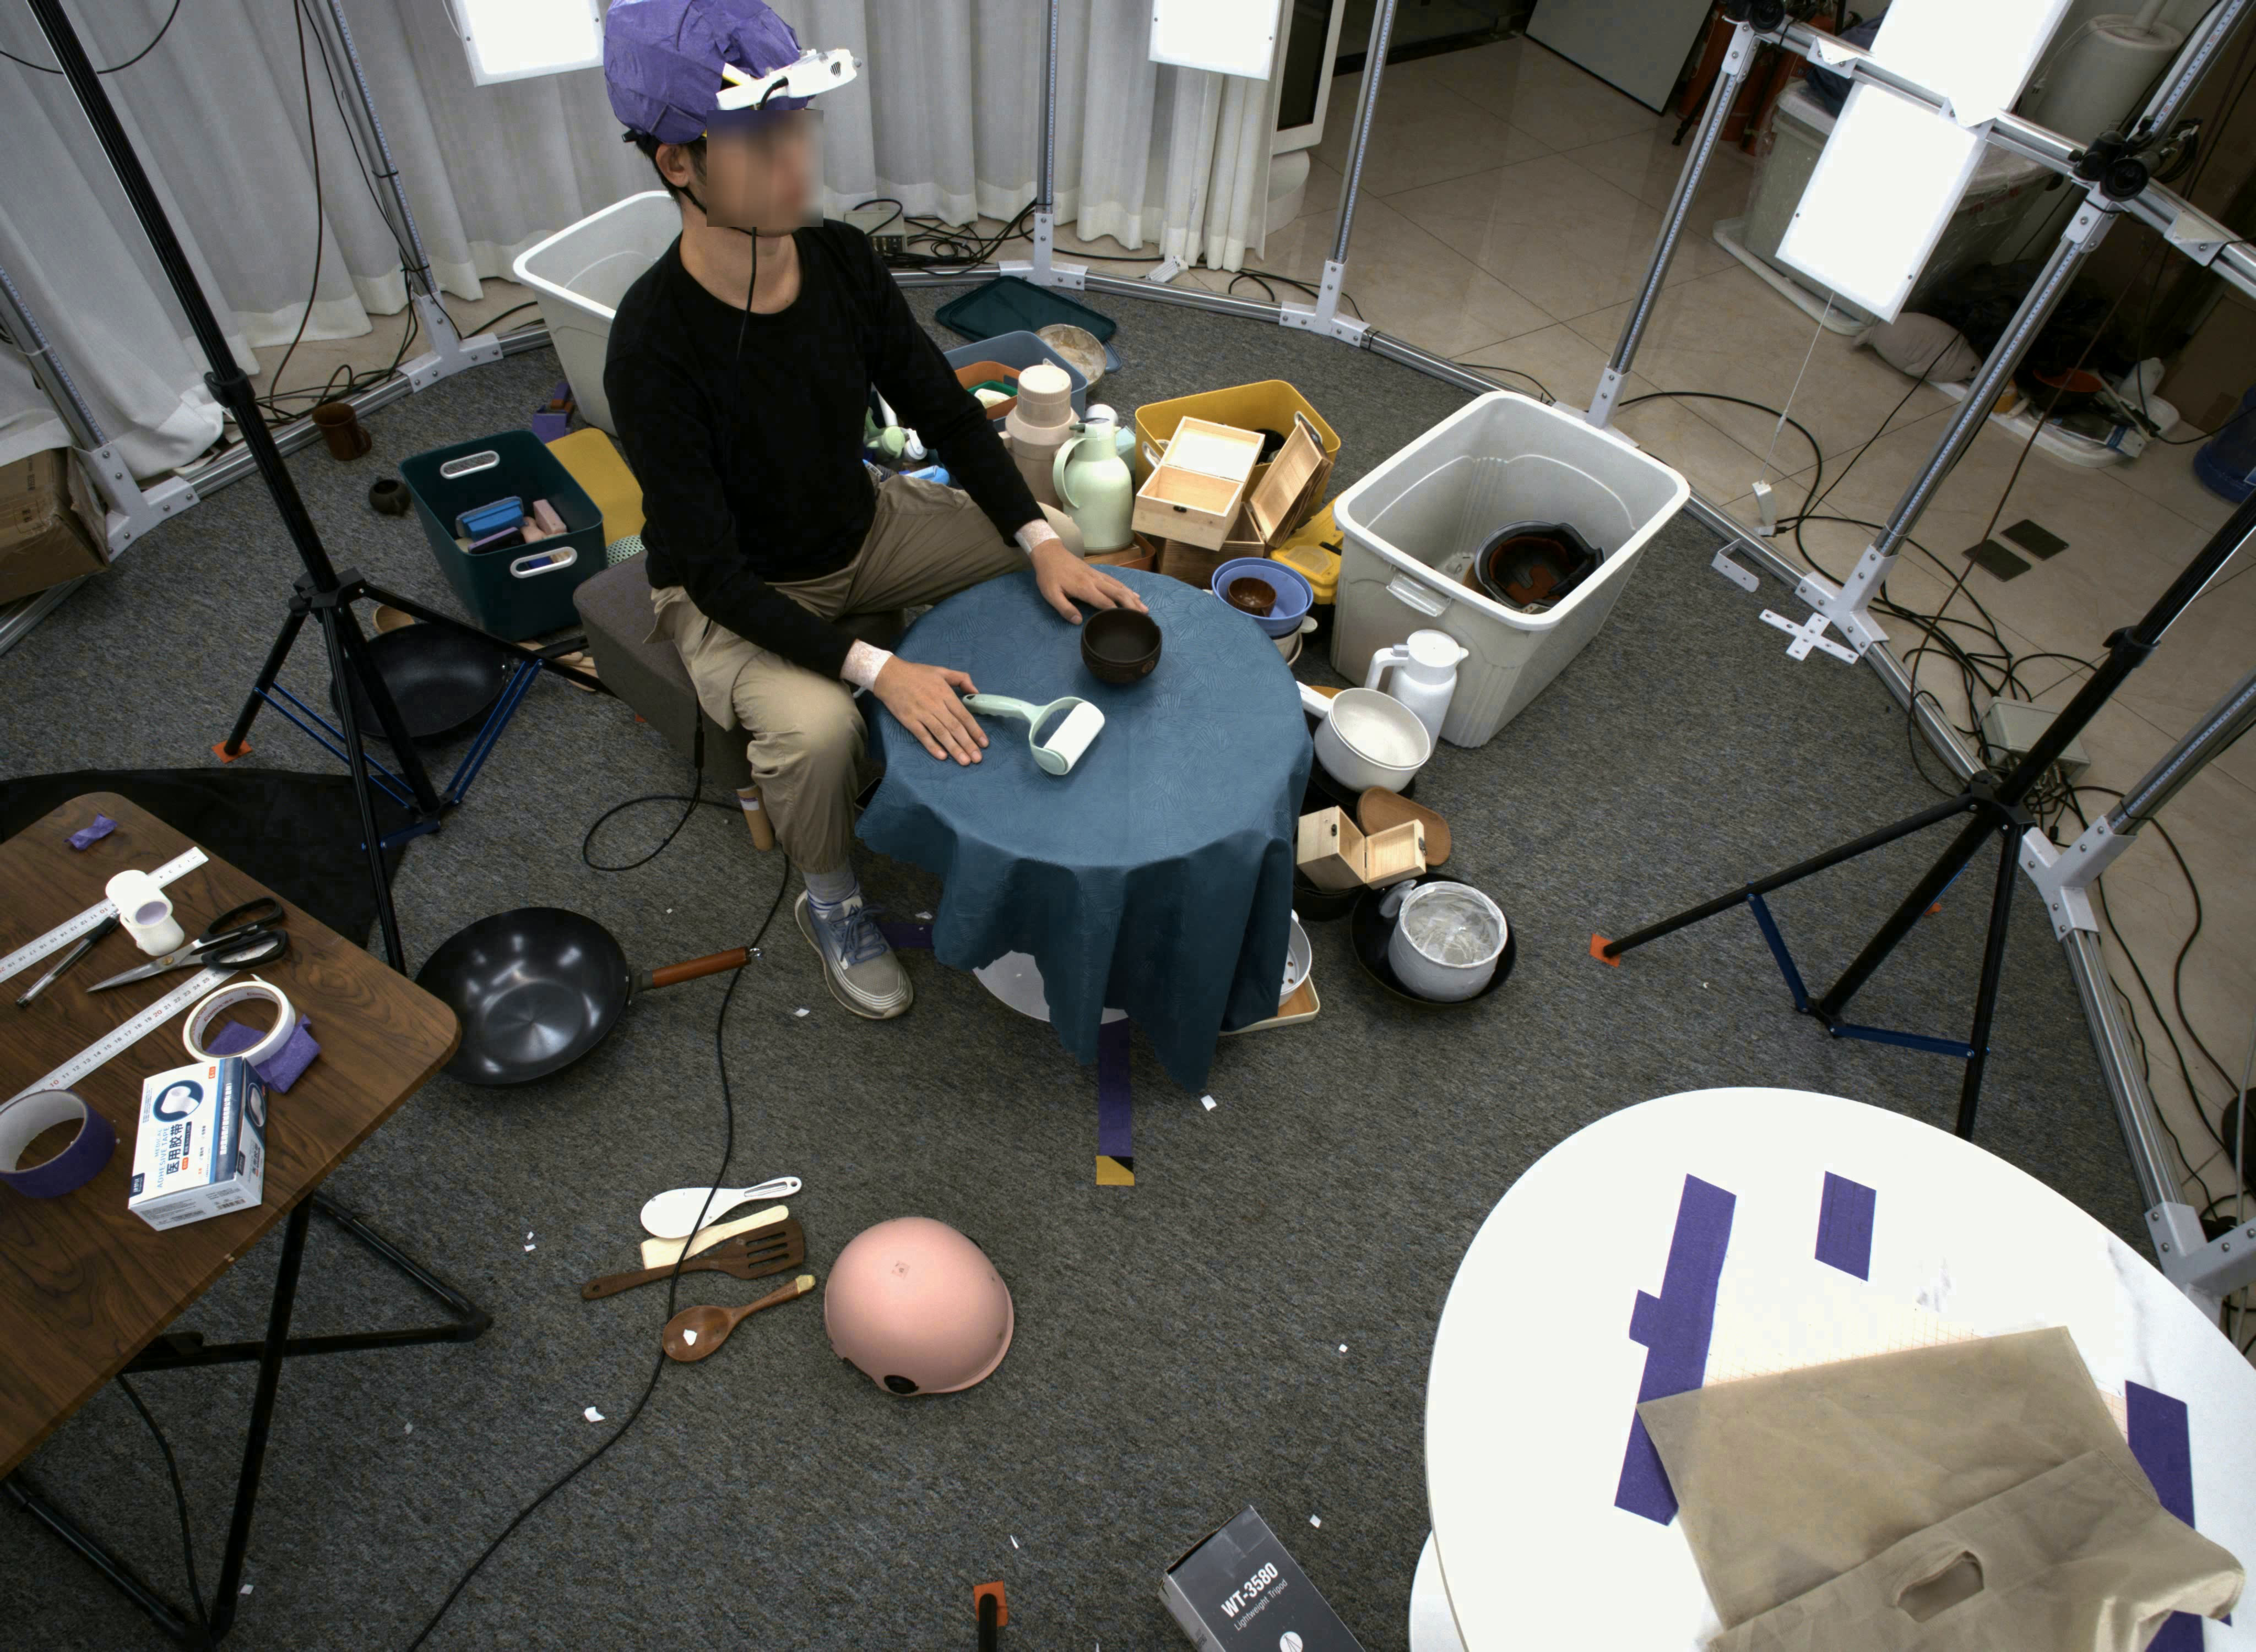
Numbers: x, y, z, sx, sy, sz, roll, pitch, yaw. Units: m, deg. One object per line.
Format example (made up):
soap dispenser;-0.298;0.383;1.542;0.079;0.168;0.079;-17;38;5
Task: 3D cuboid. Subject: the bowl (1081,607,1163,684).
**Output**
bowl;-0.010;-0.250;1.840;0.118;0.068;0.121;1;49;-2

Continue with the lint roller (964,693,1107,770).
lint roller;-0.137;-0.152;1.764;0.199;0.047;0.118;22;52;17
